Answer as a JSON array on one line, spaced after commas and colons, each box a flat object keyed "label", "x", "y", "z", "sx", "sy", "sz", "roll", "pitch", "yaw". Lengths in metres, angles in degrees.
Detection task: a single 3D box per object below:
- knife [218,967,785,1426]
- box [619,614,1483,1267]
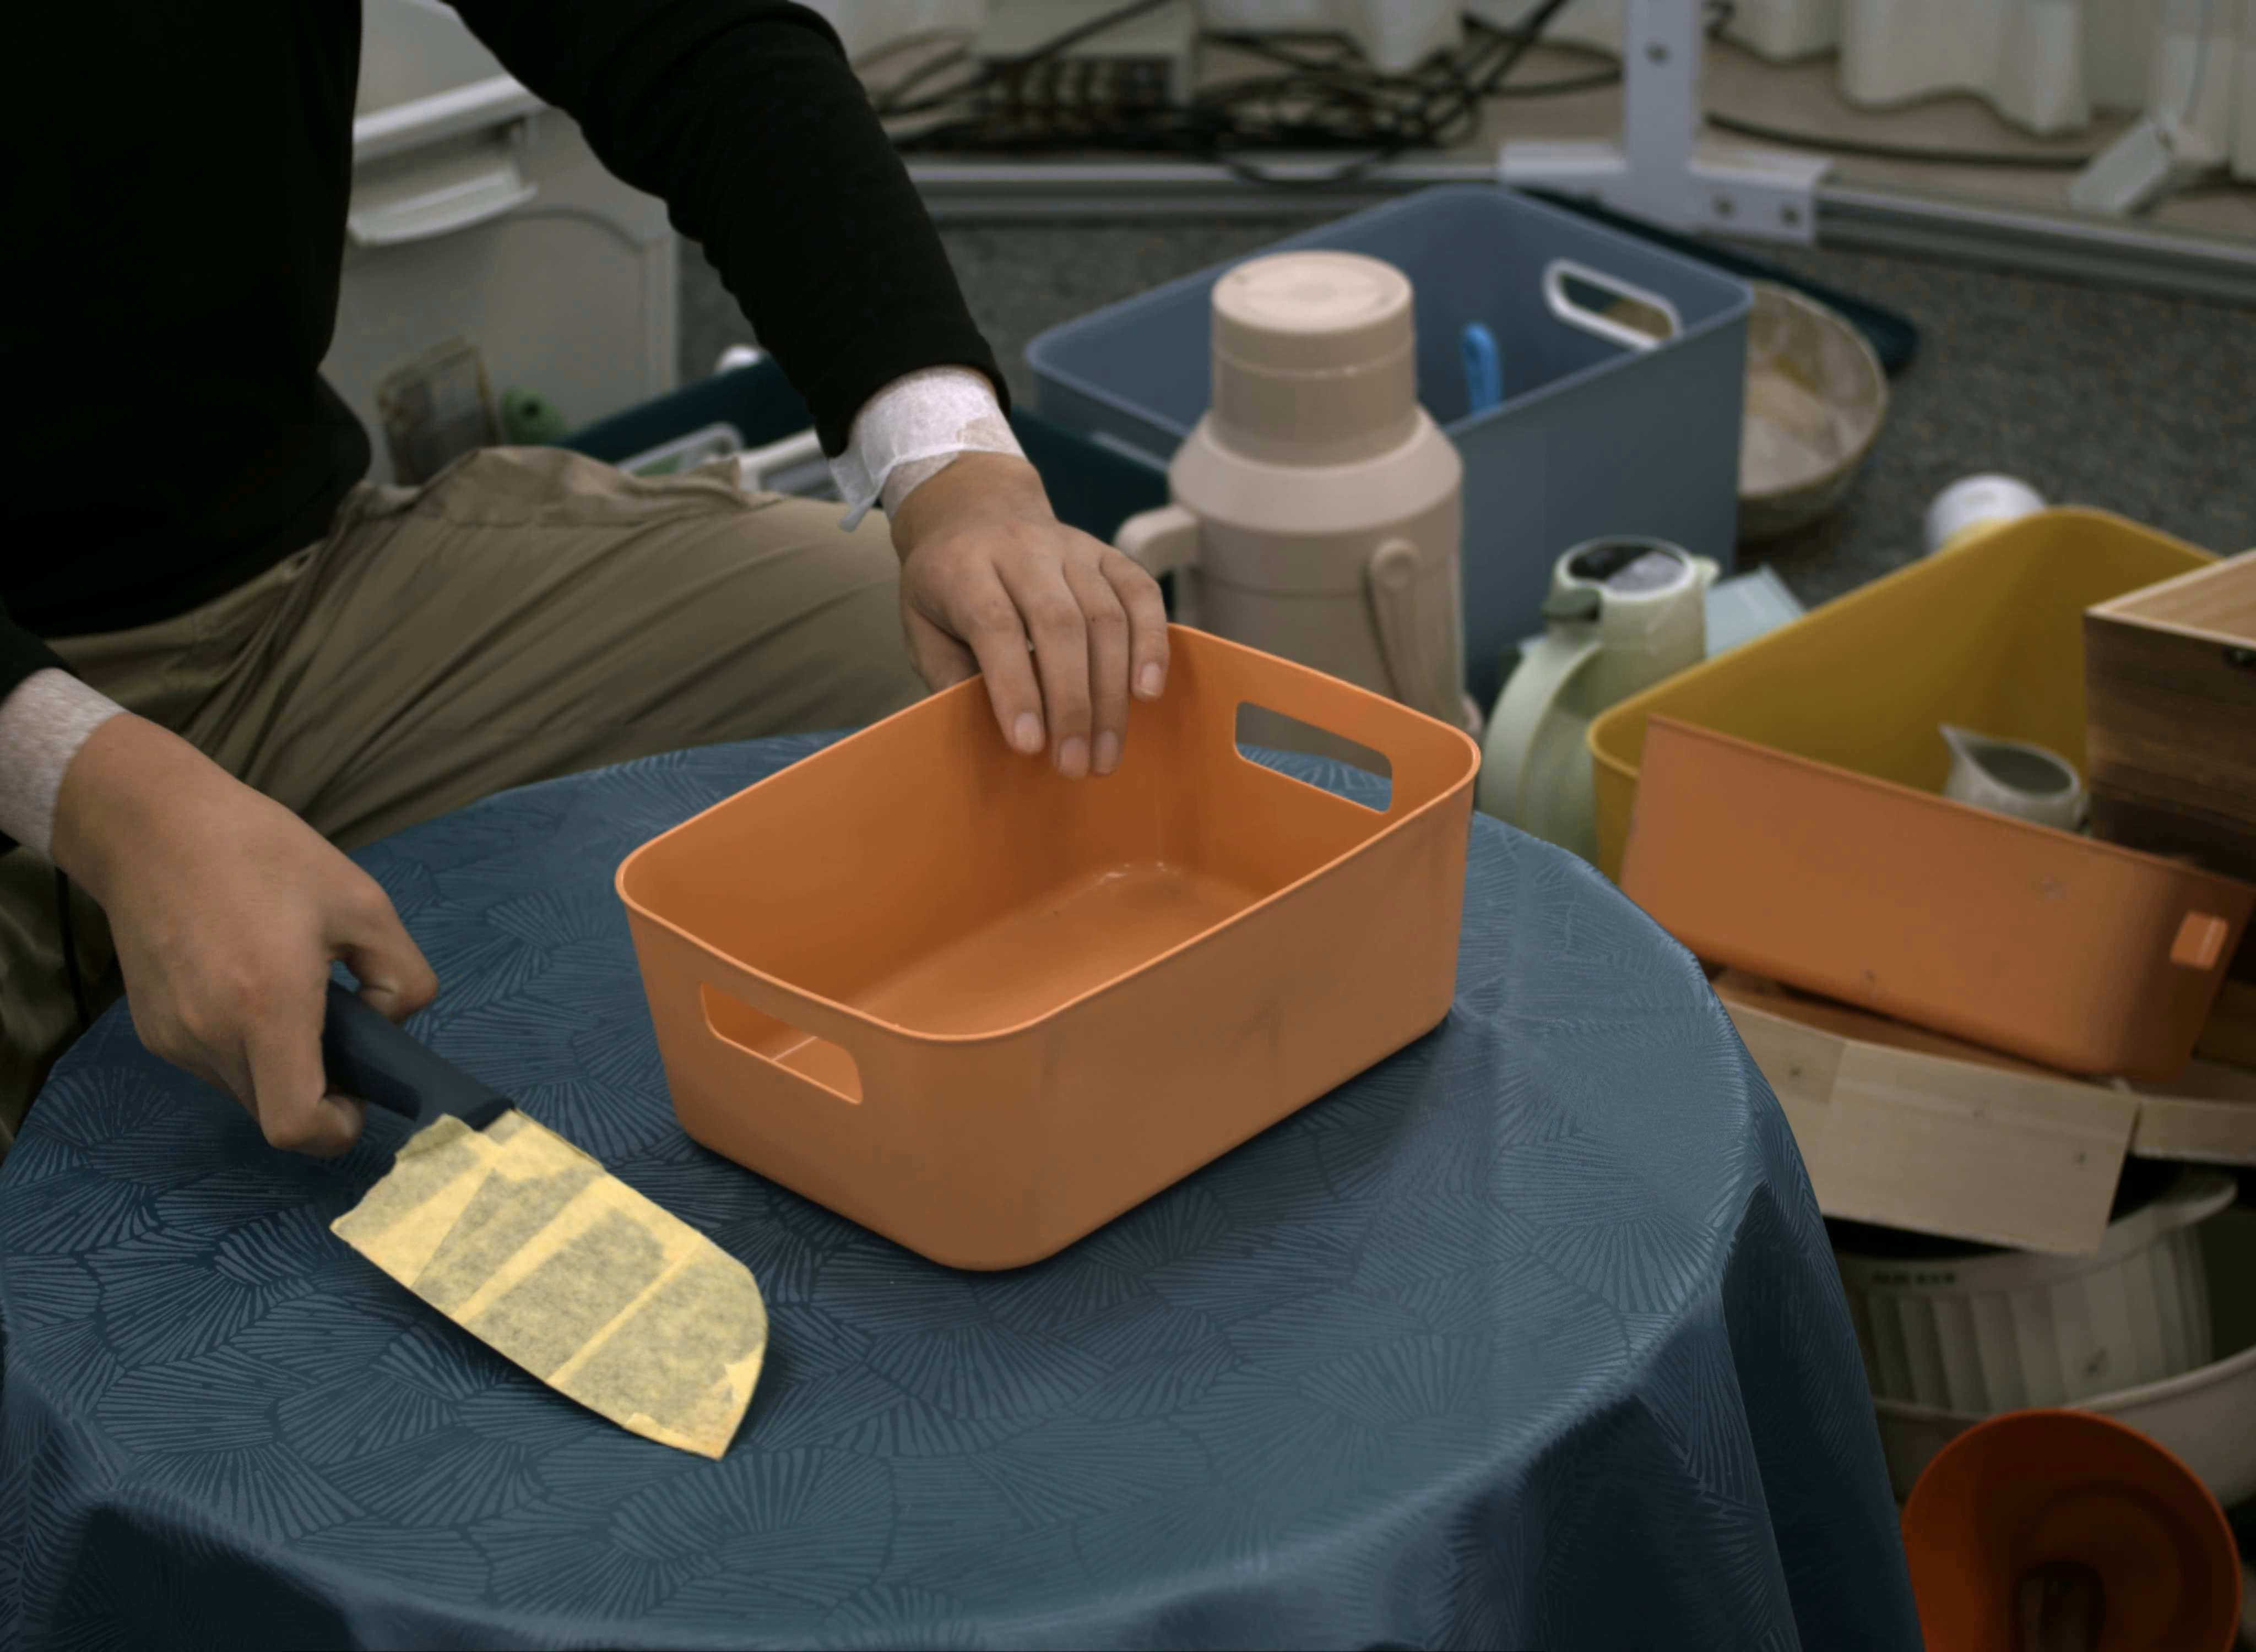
[{"label": "knife", "x": -0.213, "y": 0.120, "z": 1.825, "sx": 0.082, "sy": 0.027, "sz": 0.290, "roll": -34, "pitch": 47, "yaw": -29}, {"label": "box", "x": -0.023, "y": 0.038, "z": 1.914, "sx": 0.199, "sy": 0.101, "sz": 0.276, "roll": 22, "pitch": 37, "yaw": 39}]
